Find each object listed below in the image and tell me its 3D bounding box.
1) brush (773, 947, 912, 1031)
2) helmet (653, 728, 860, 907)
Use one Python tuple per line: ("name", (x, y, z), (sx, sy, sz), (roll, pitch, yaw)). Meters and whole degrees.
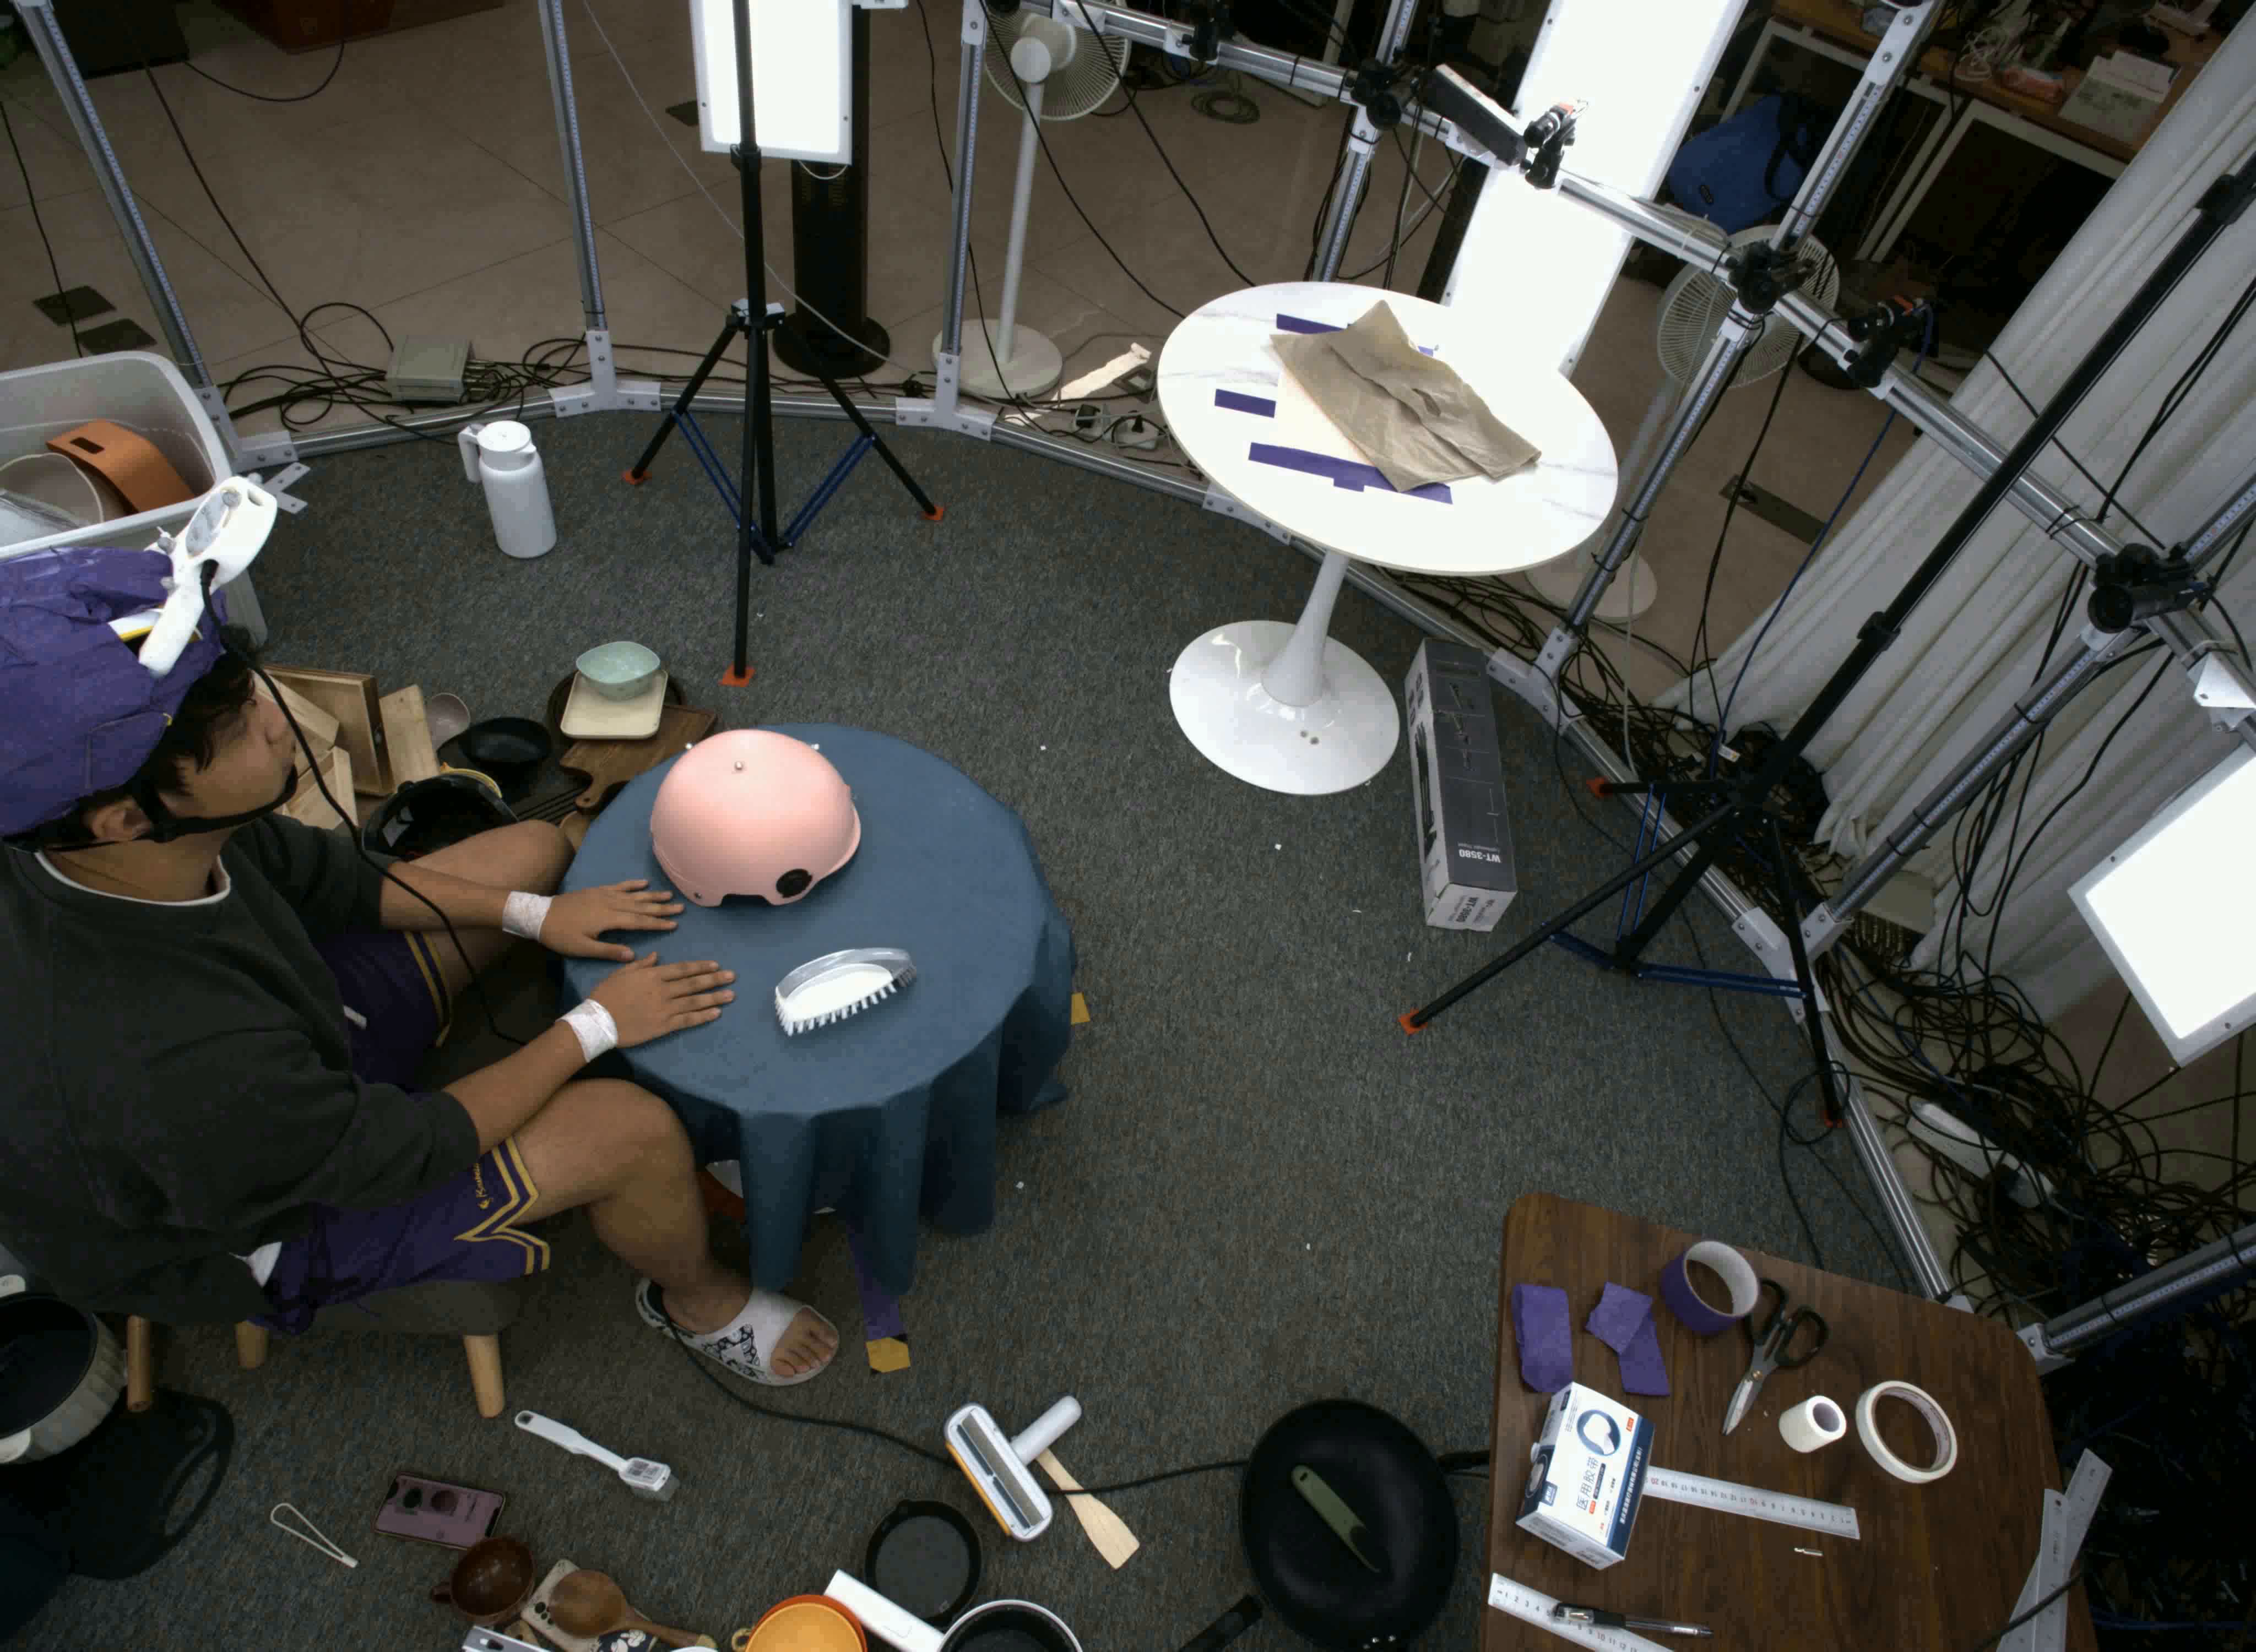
("brush", (-0.339, 0.177, 1.560), (0.176, 0.096, 0.060), (-17, 59, -26))
("helmet", (-0.470, -0.031, 1.643), (0.268, 0.162, 0.228), (-9, 55, -24))
